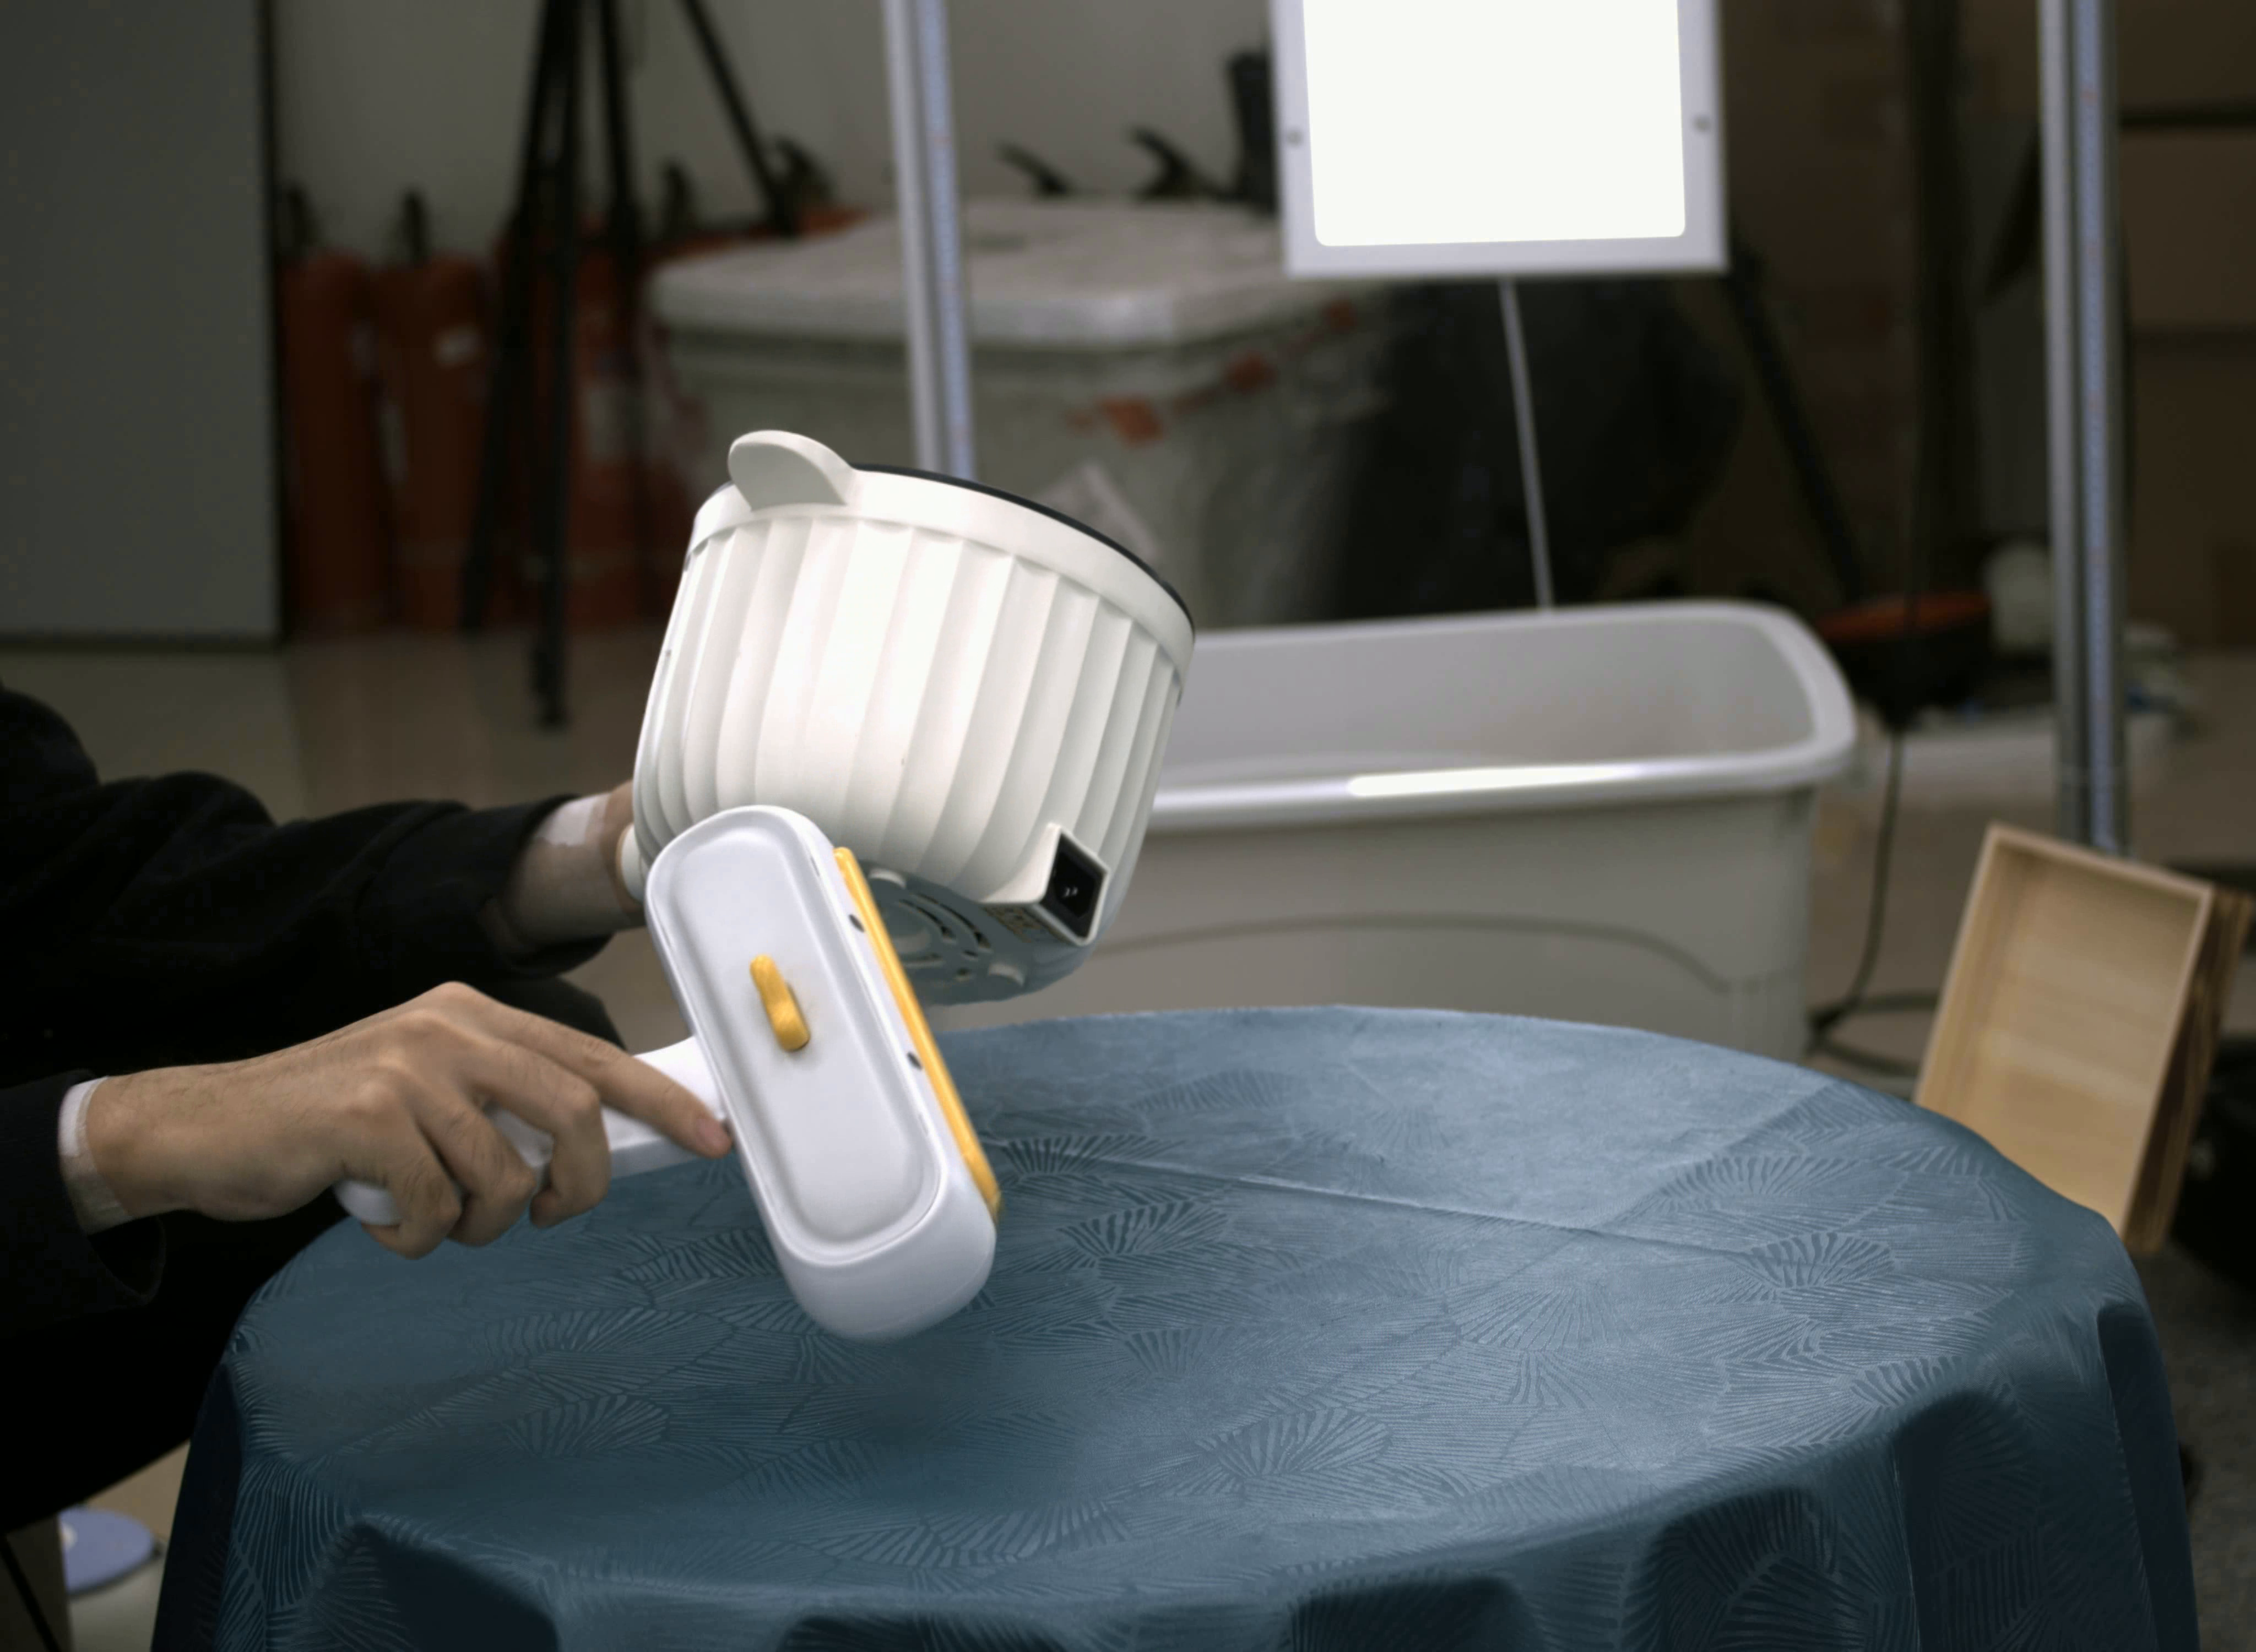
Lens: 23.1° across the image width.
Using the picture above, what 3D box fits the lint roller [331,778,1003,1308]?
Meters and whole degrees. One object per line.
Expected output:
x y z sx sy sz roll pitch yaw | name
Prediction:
-0.153 0.085 1.710 0.191 0.074 0.194 -24 57 -8 | lint roller

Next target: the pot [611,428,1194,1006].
-0.085 -0.025 1.908 0.194 0.142 0.237 2 -26 35 | pot
